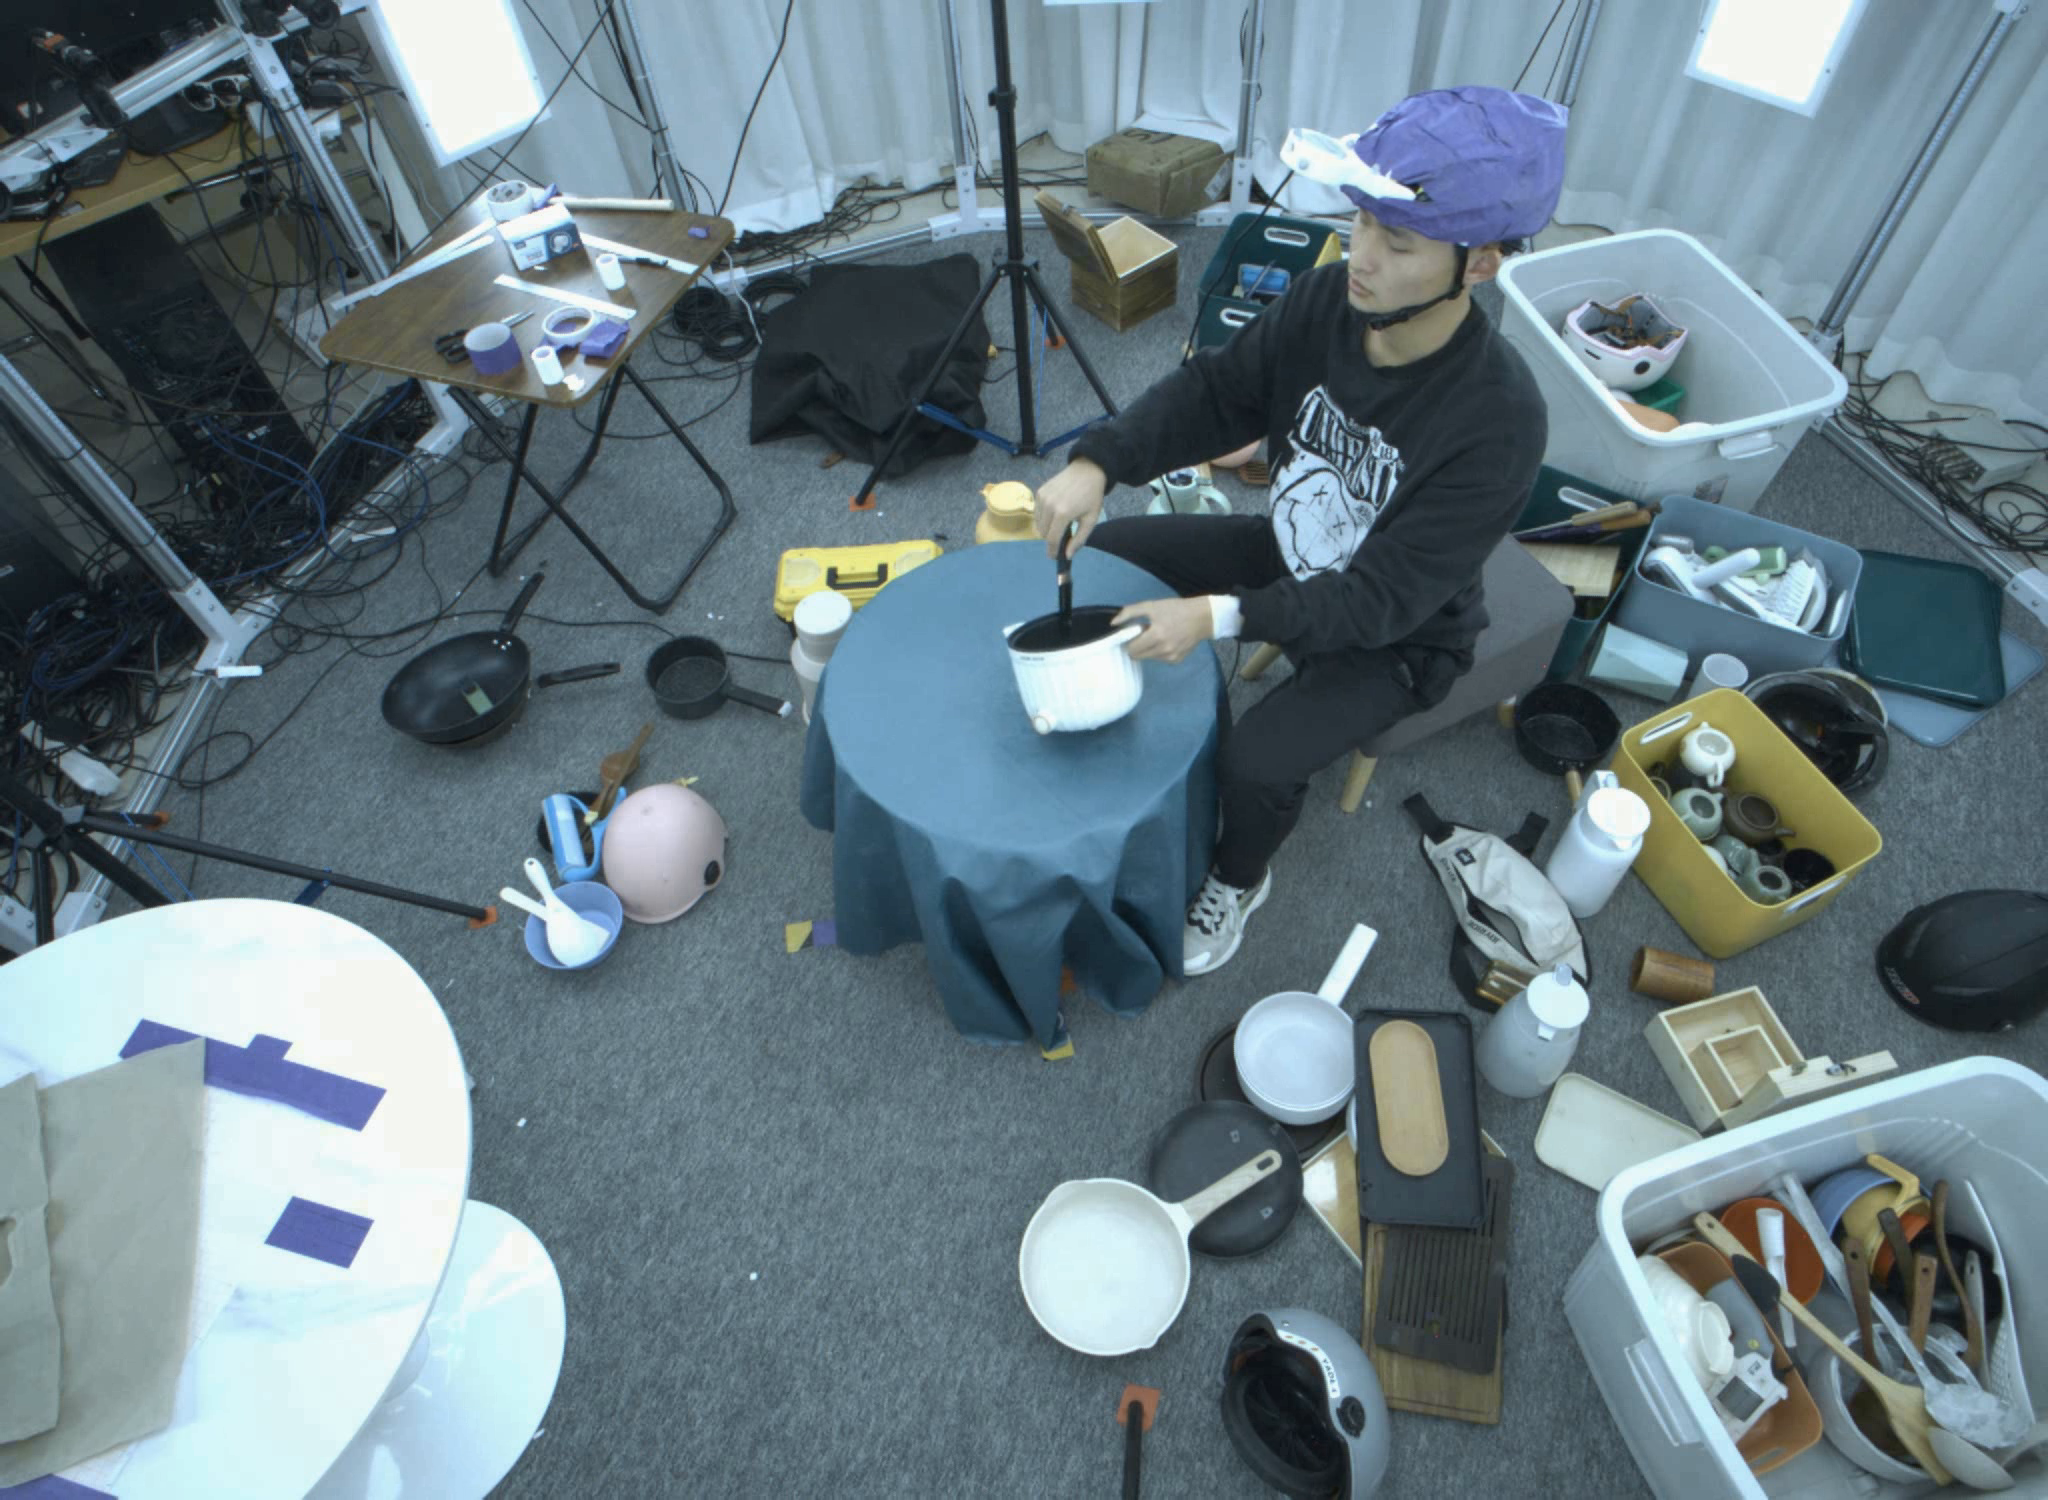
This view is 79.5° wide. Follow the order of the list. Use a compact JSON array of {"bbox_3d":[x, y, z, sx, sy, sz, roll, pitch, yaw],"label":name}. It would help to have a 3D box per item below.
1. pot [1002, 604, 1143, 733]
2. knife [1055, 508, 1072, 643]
[{"bbox_3d":[0.075,-0.112,1.746,0.235,0.144,0.193,5,26,40],"label":"pot"},{"bbox_3d":[0.058,-0.240,1.780,0.026,0.227,0.017,-19,28,-35],"label":"knife"}]
